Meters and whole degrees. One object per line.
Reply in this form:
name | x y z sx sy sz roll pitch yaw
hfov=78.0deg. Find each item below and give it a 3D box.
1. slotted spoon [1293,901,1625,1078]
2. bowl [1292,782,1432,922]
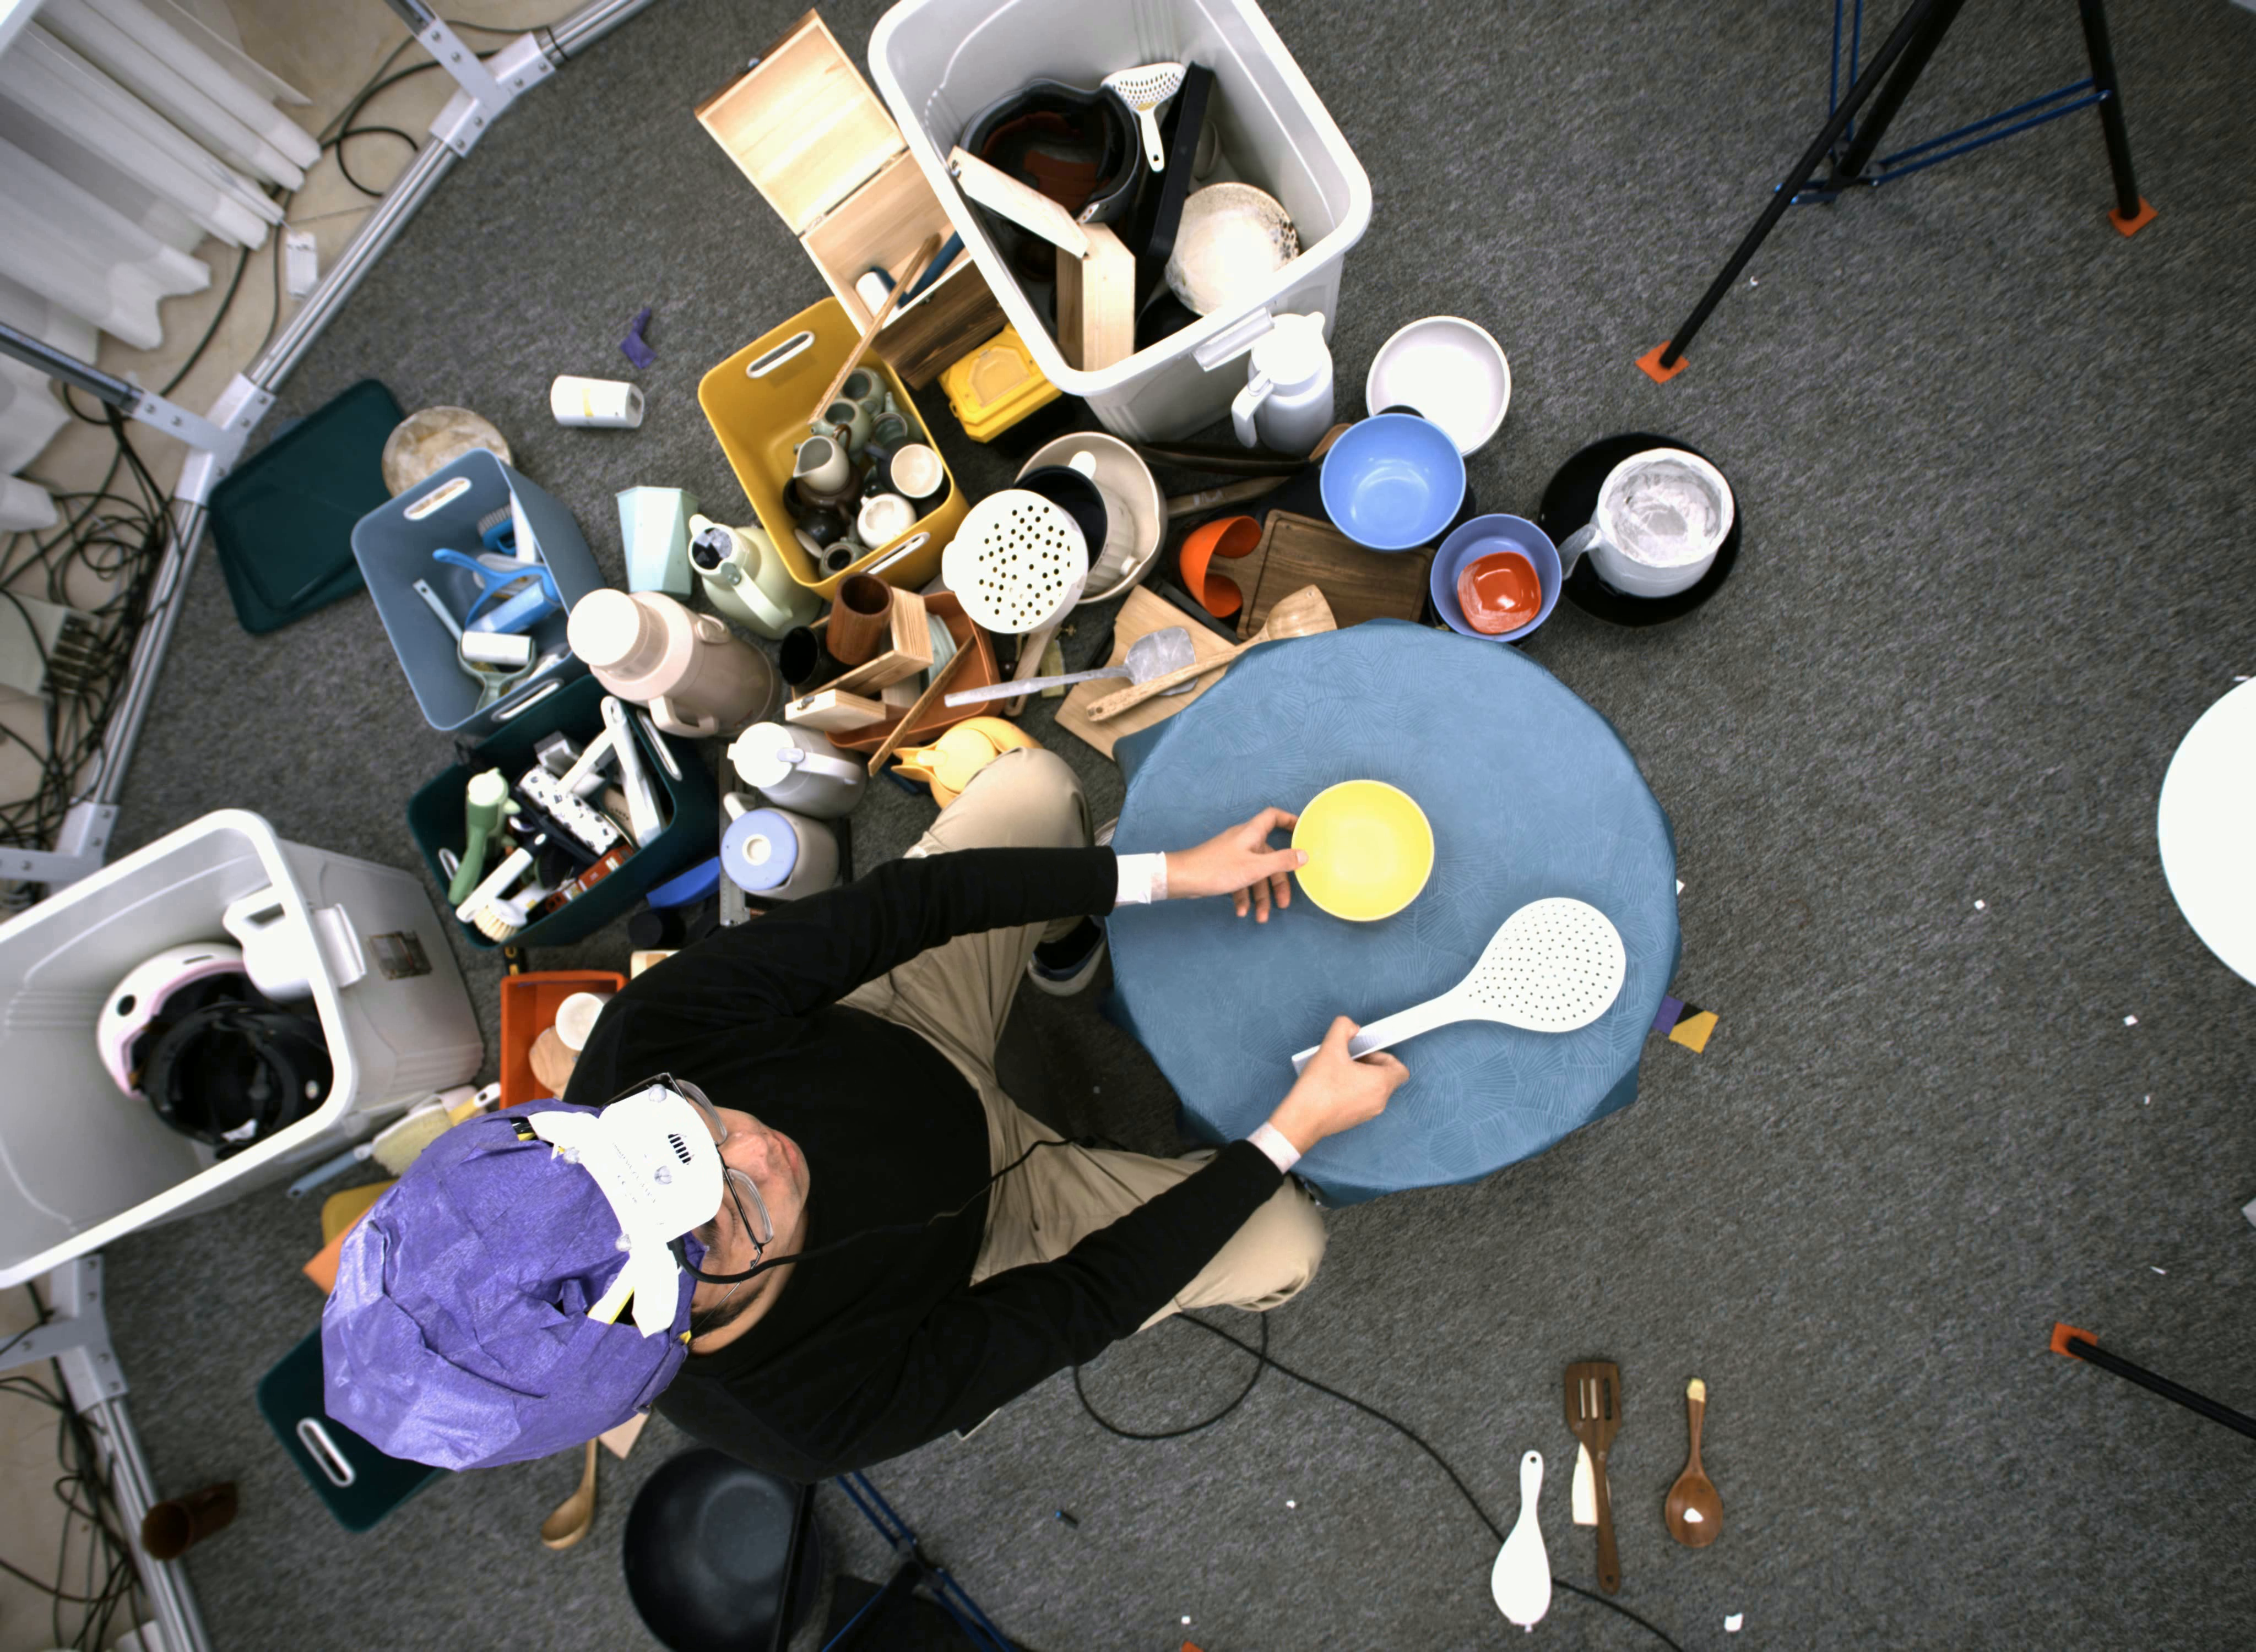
slotted spoon | 0.334 0.181 1.407 0.351 0.045 0.136 -24 97 4
bowl | 0.244 0.029 1.439 0.146 0.060 0.144 -1 84 10
